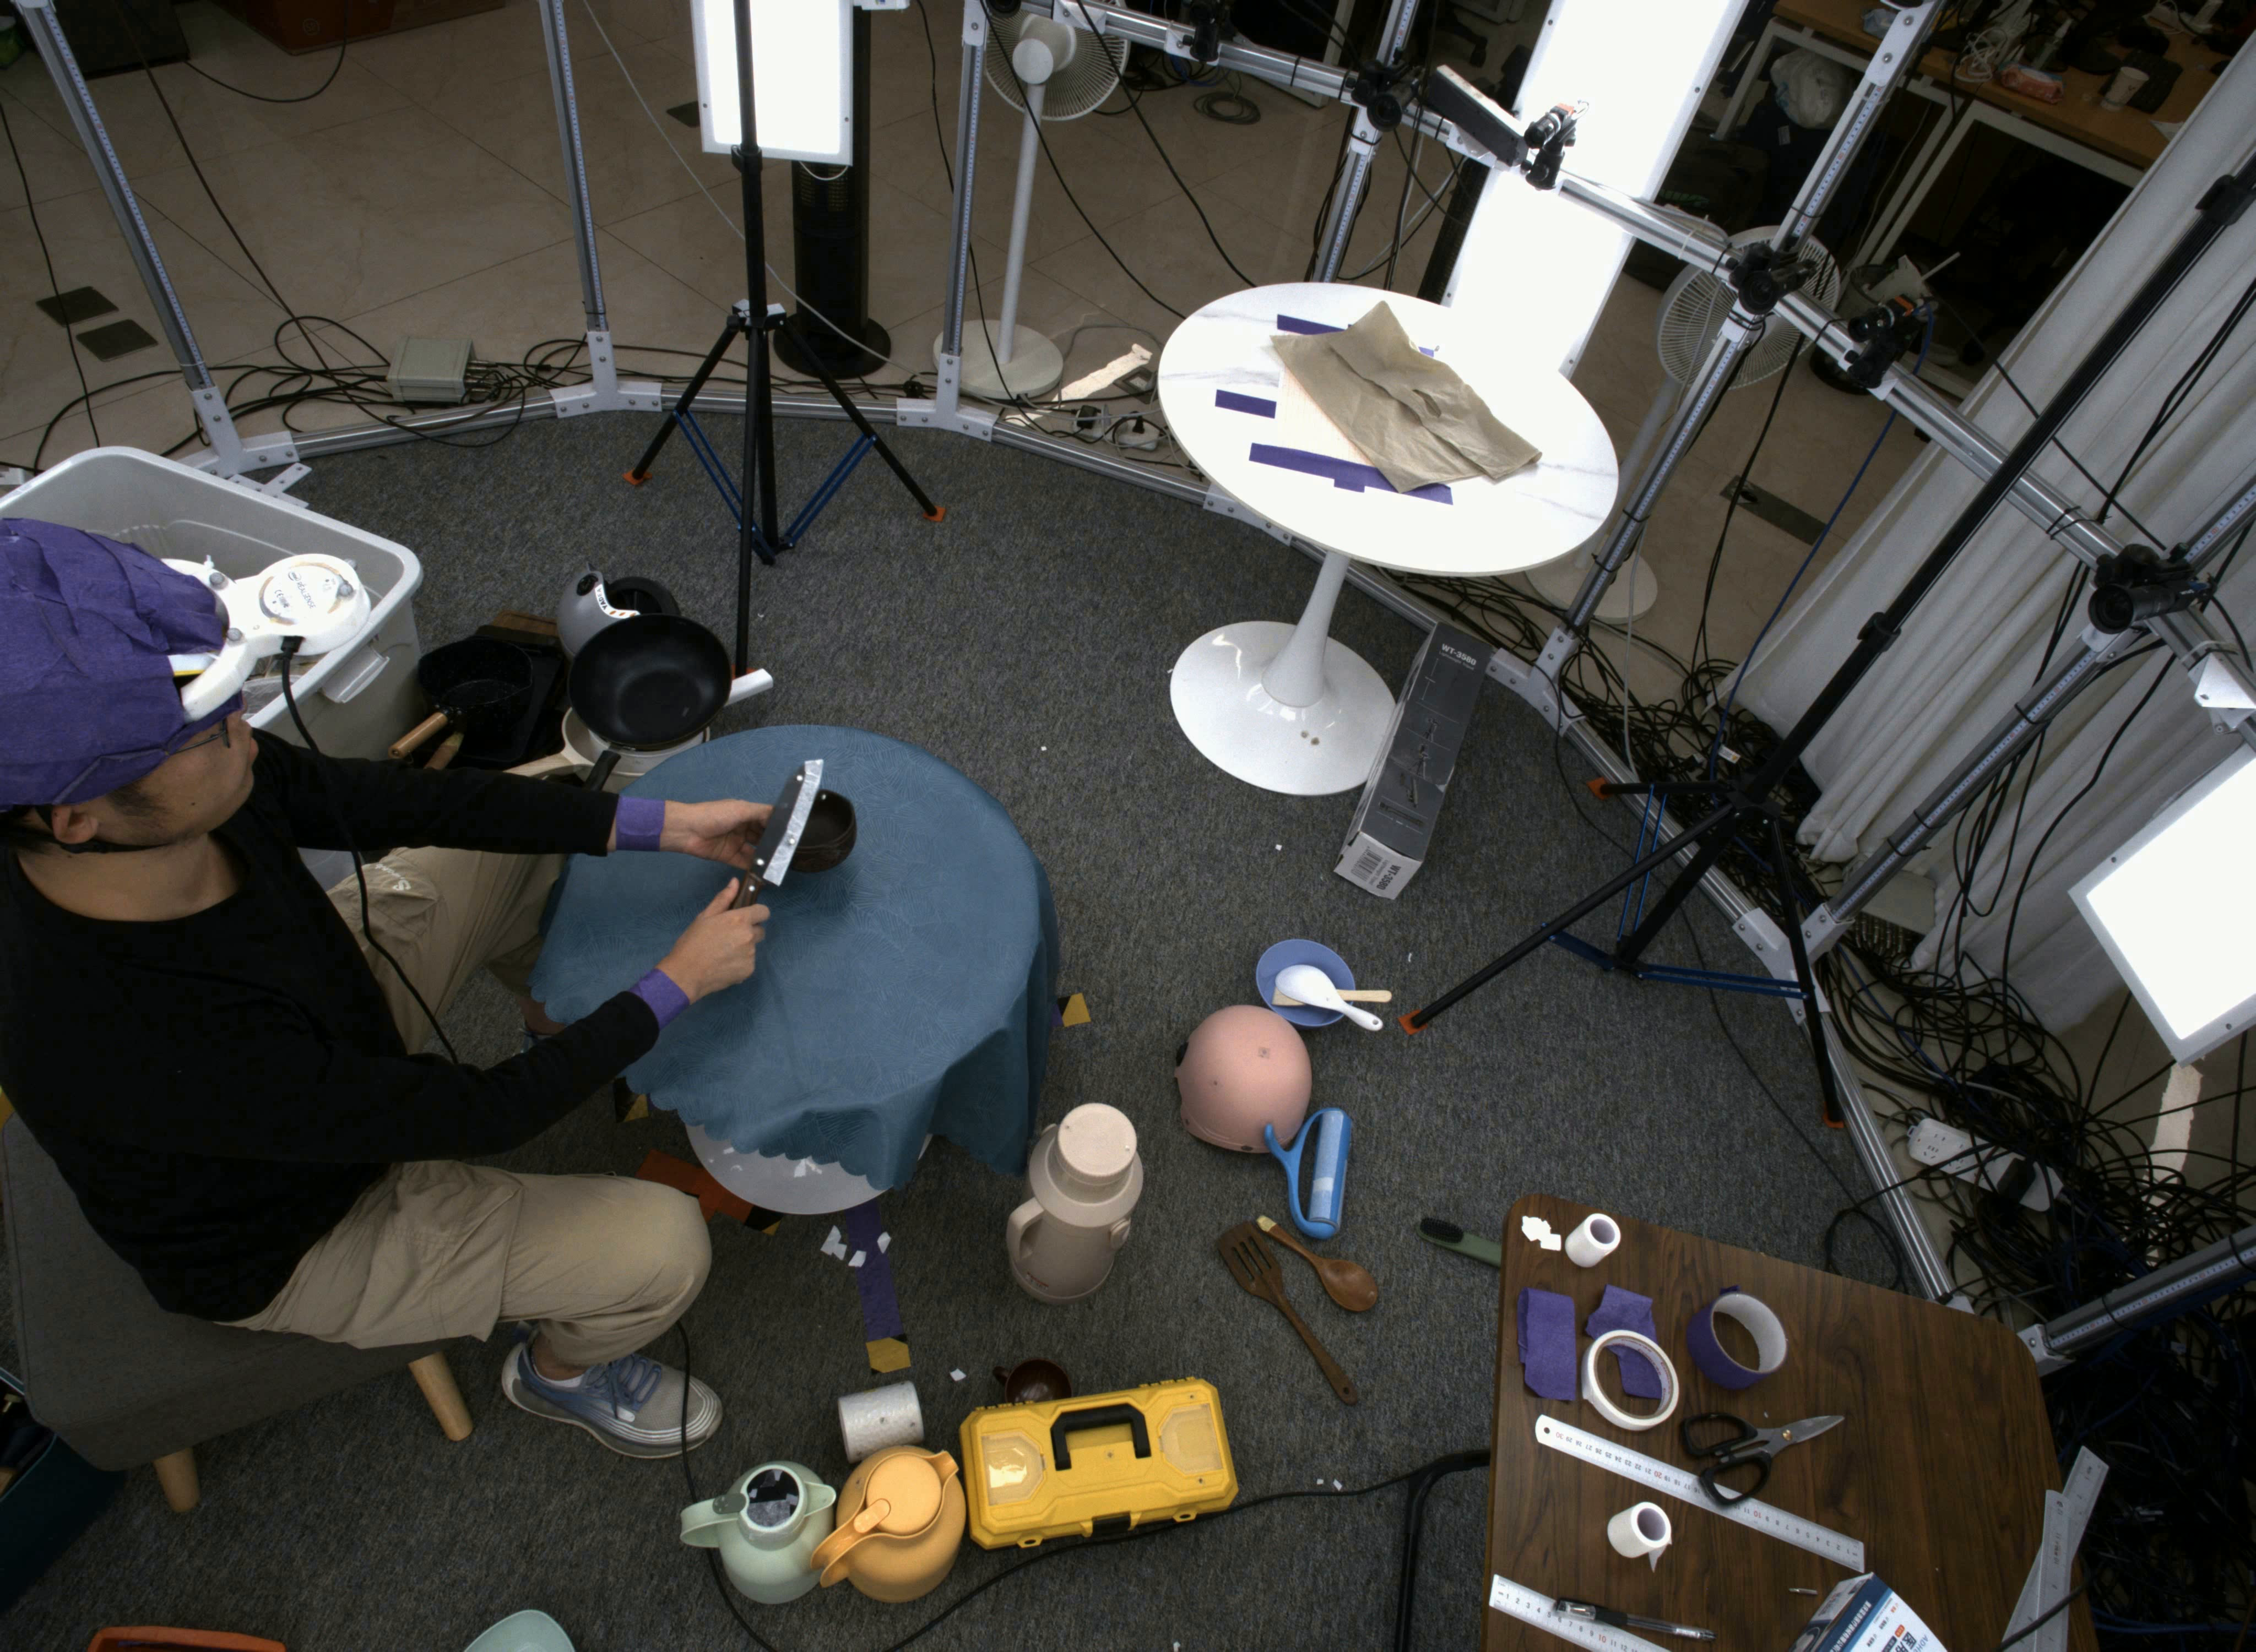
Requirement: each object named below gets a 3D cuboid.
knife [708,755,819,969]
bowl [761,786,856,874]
[{"bbox_3d":[-0.435,0.039,1.552,0.051,0.019,0.288,32,69,-30],"label":"knife"},{"bbox_3d":[-0.402,0.012,1.638,0.117,0.072,0.115,5,44,-3],"label":"bowl"}]
